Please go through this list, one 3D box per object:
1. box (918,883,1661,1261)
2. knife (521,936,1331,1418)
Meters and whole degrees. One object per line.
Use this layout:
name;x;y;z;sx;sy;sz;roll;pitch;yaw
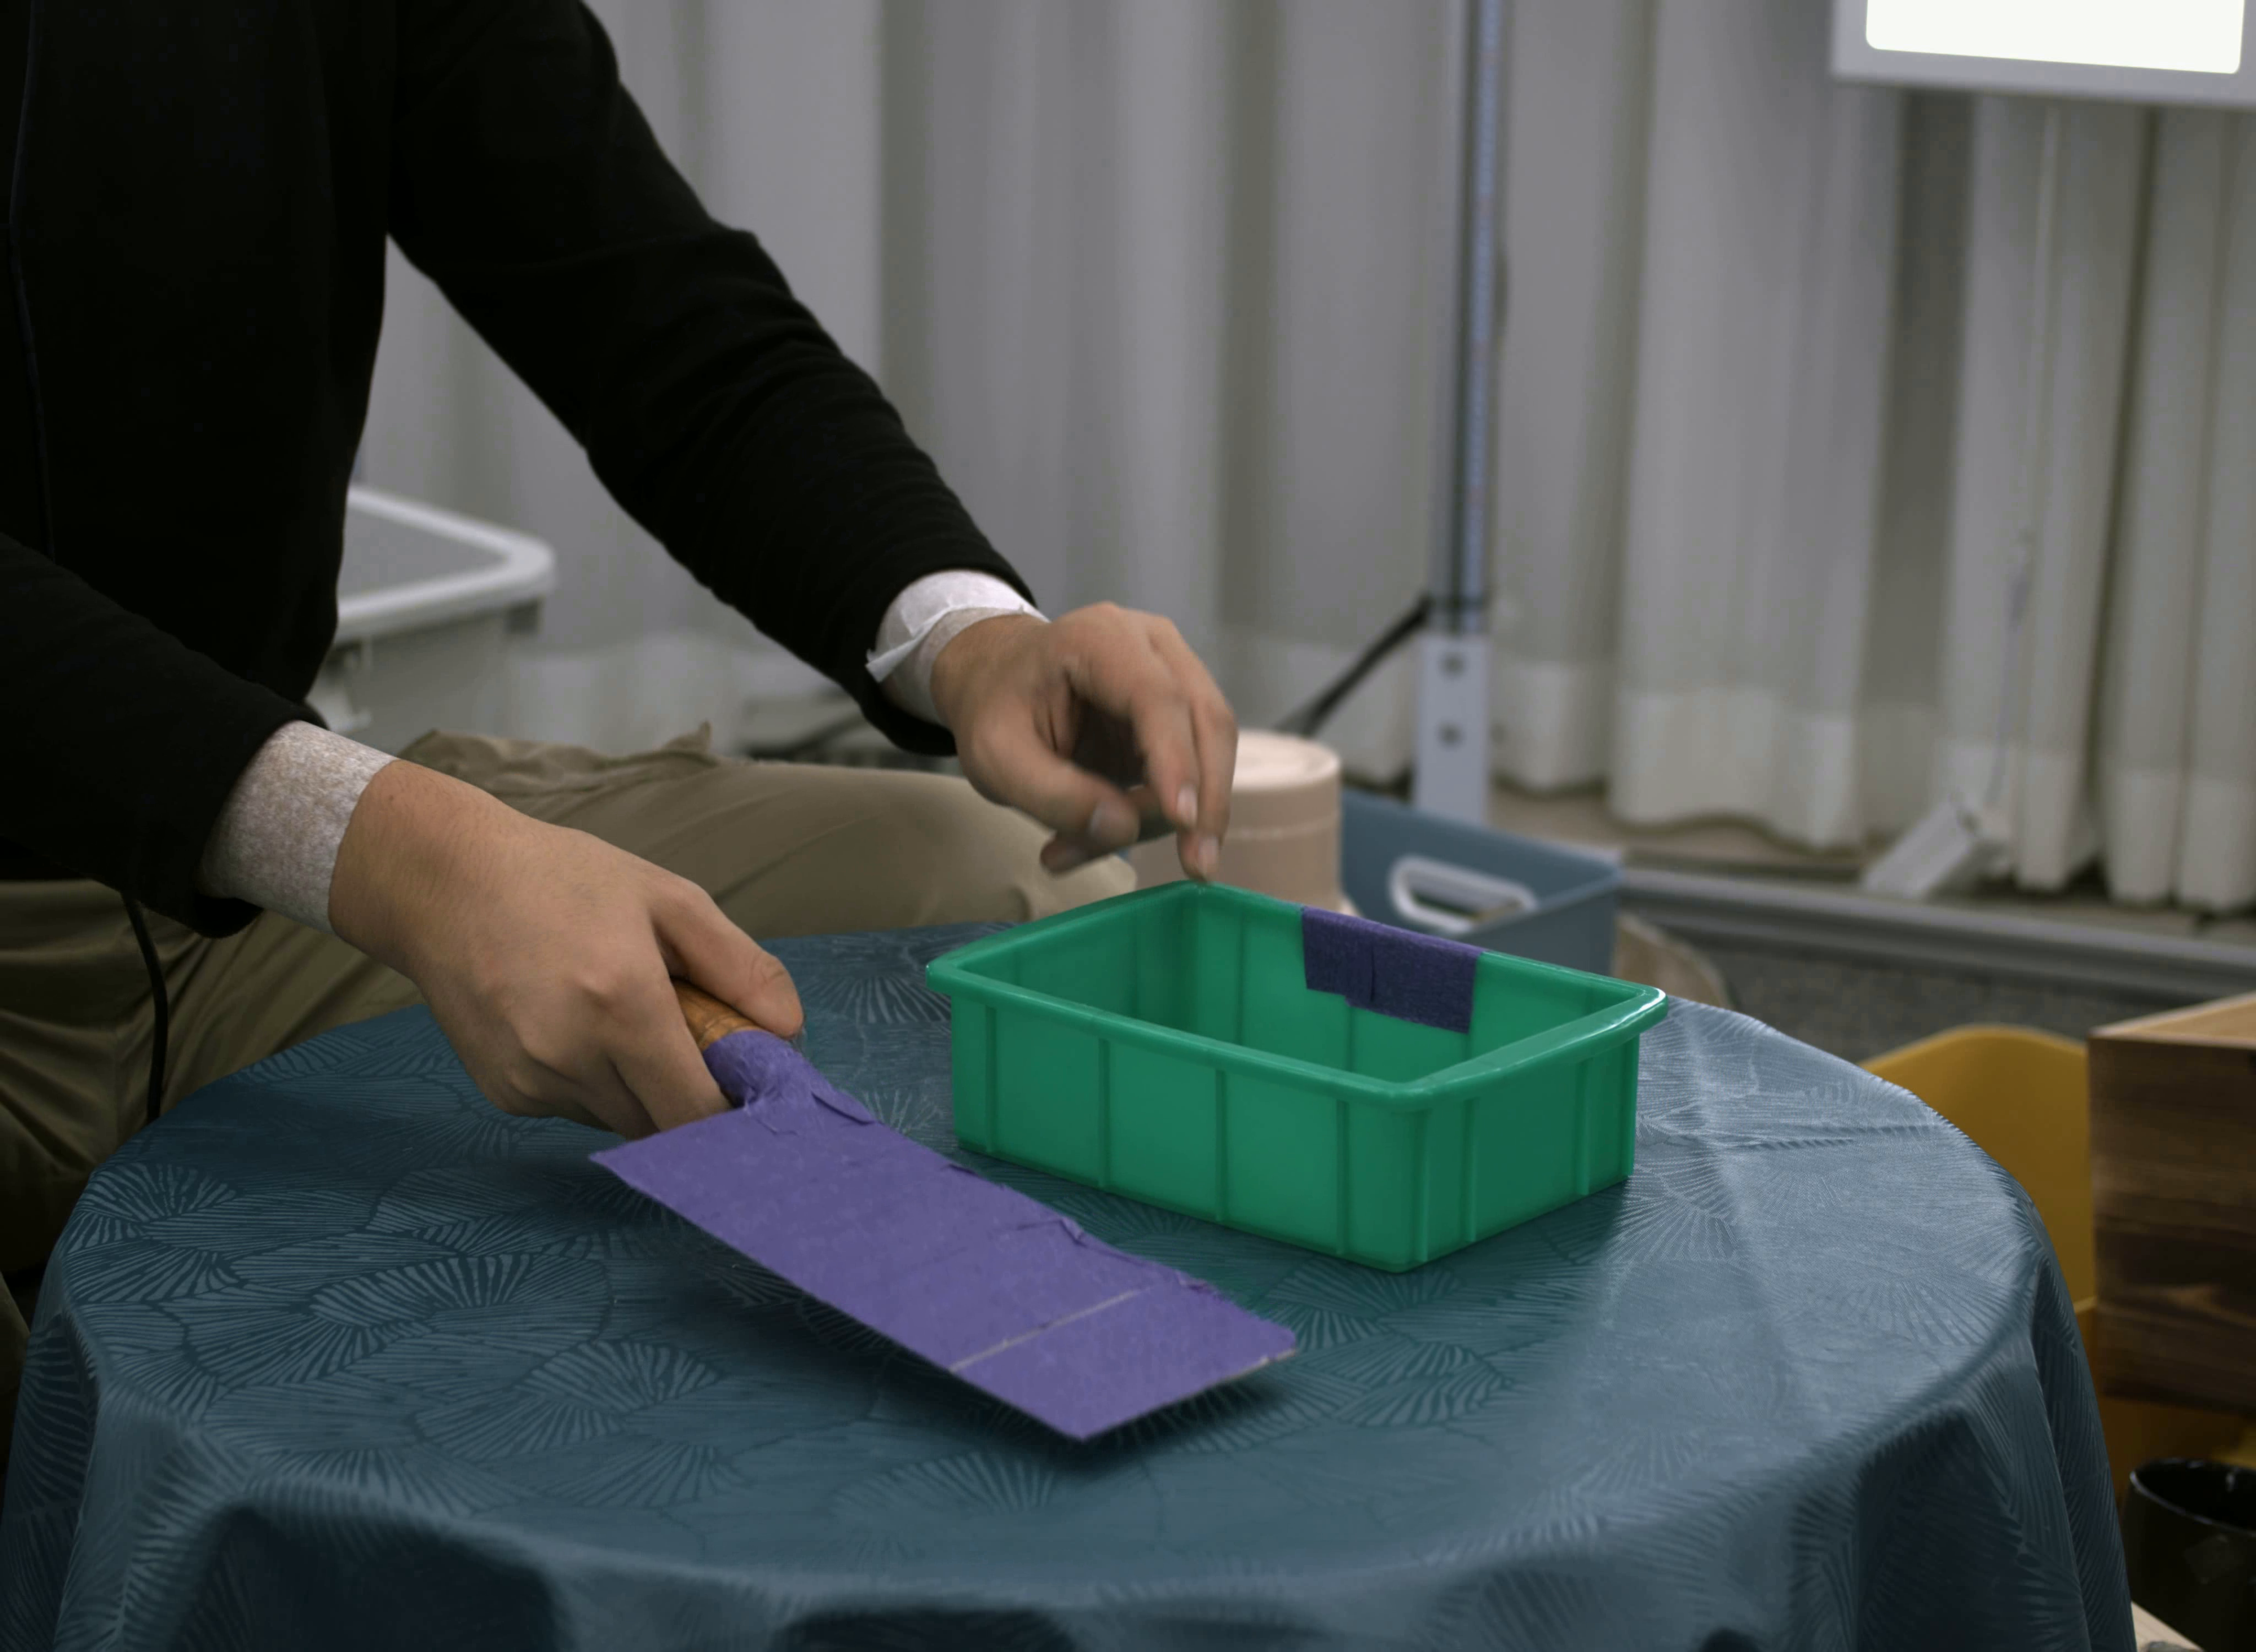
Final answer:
box;0.049;0.075;1.639;0.208;0.066;0.139;11;17;38
knife;-0.088;0.097;1.519;0.311;0.032;0.104;22;25;39
